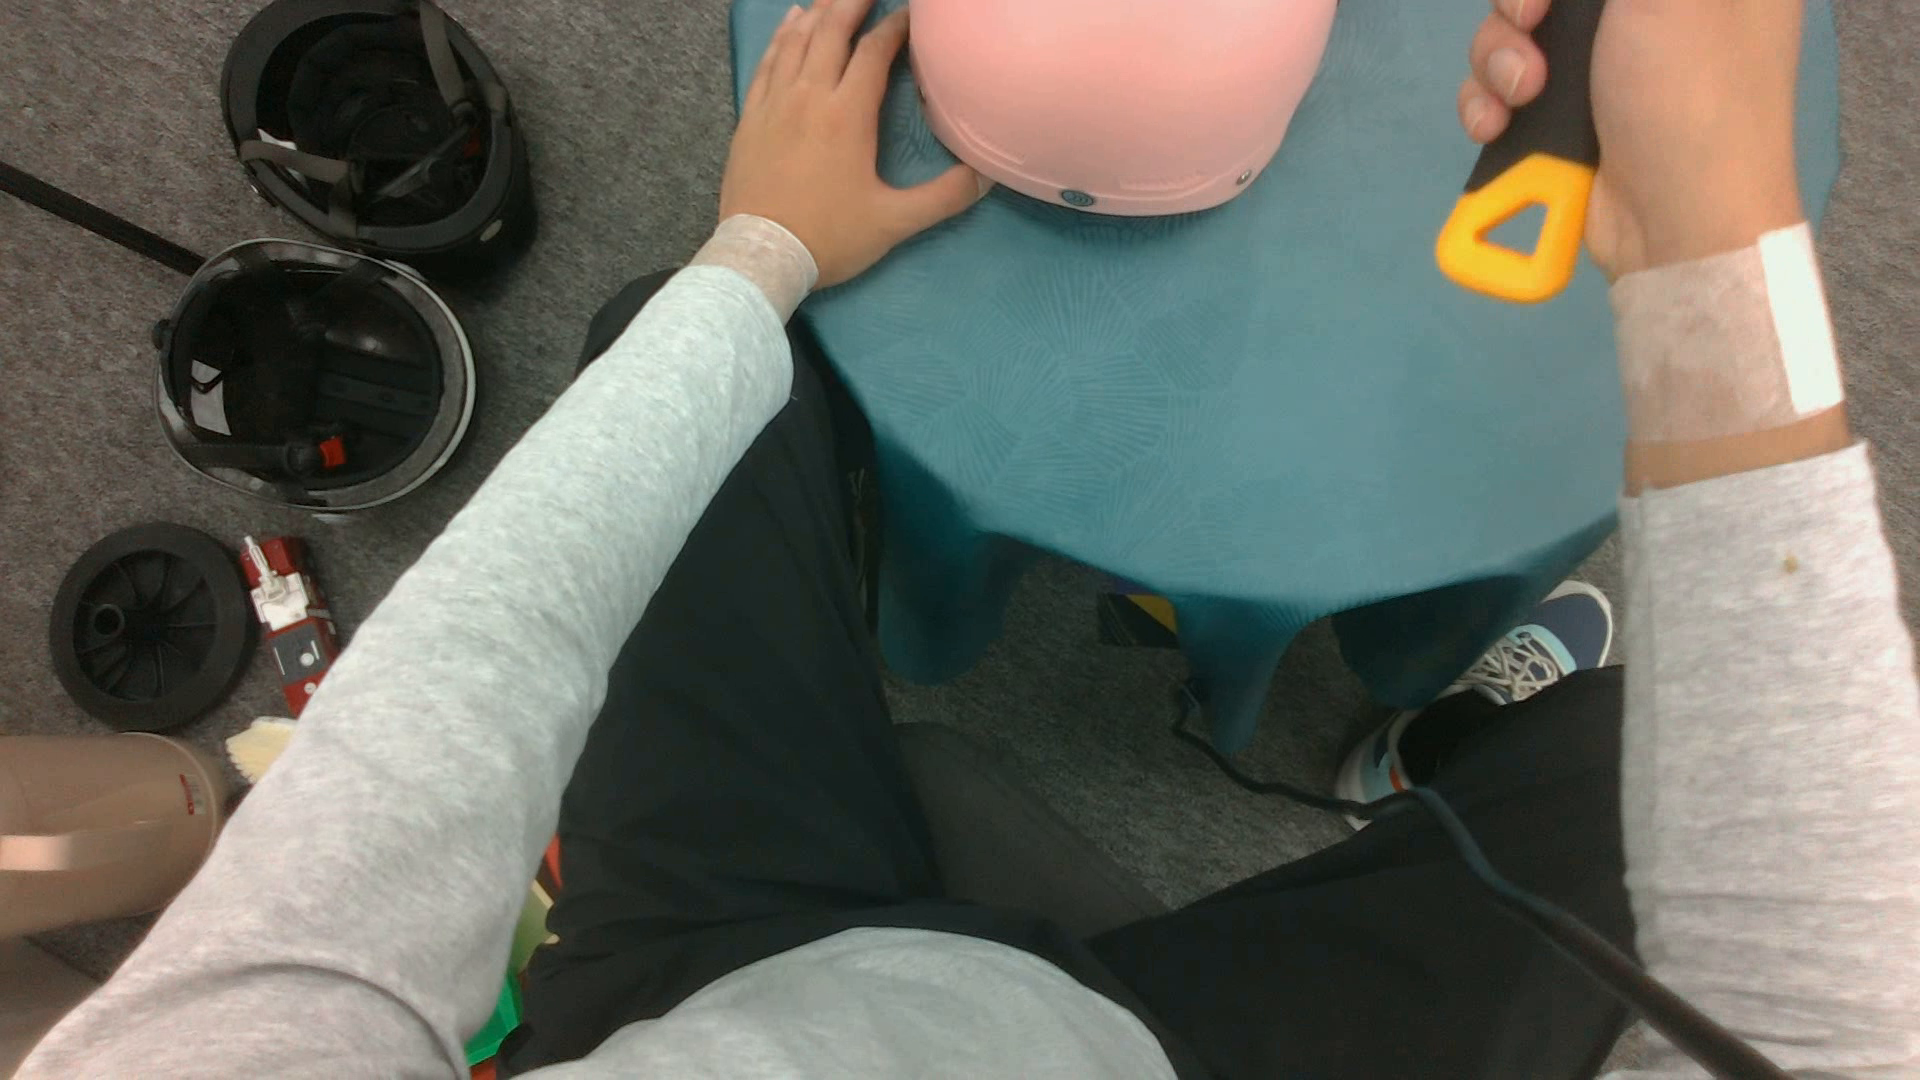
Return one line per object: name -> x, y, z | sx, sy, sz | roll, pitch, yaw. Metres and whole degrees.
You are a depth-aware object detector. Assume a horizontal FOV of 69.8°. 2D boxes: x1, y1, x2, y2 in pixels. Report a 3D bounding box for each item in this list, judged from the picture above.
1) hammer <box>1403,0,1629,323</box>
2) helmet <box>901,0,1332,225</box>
hammer -> 0.207, -0.231, 0.413 | 0.131, 0.032, 0.337 | 22, 106, 22
helmet -> 0.081, -0.303, 0.698 | 0.234, 0.158, 0.266 | 12, 78, 3
